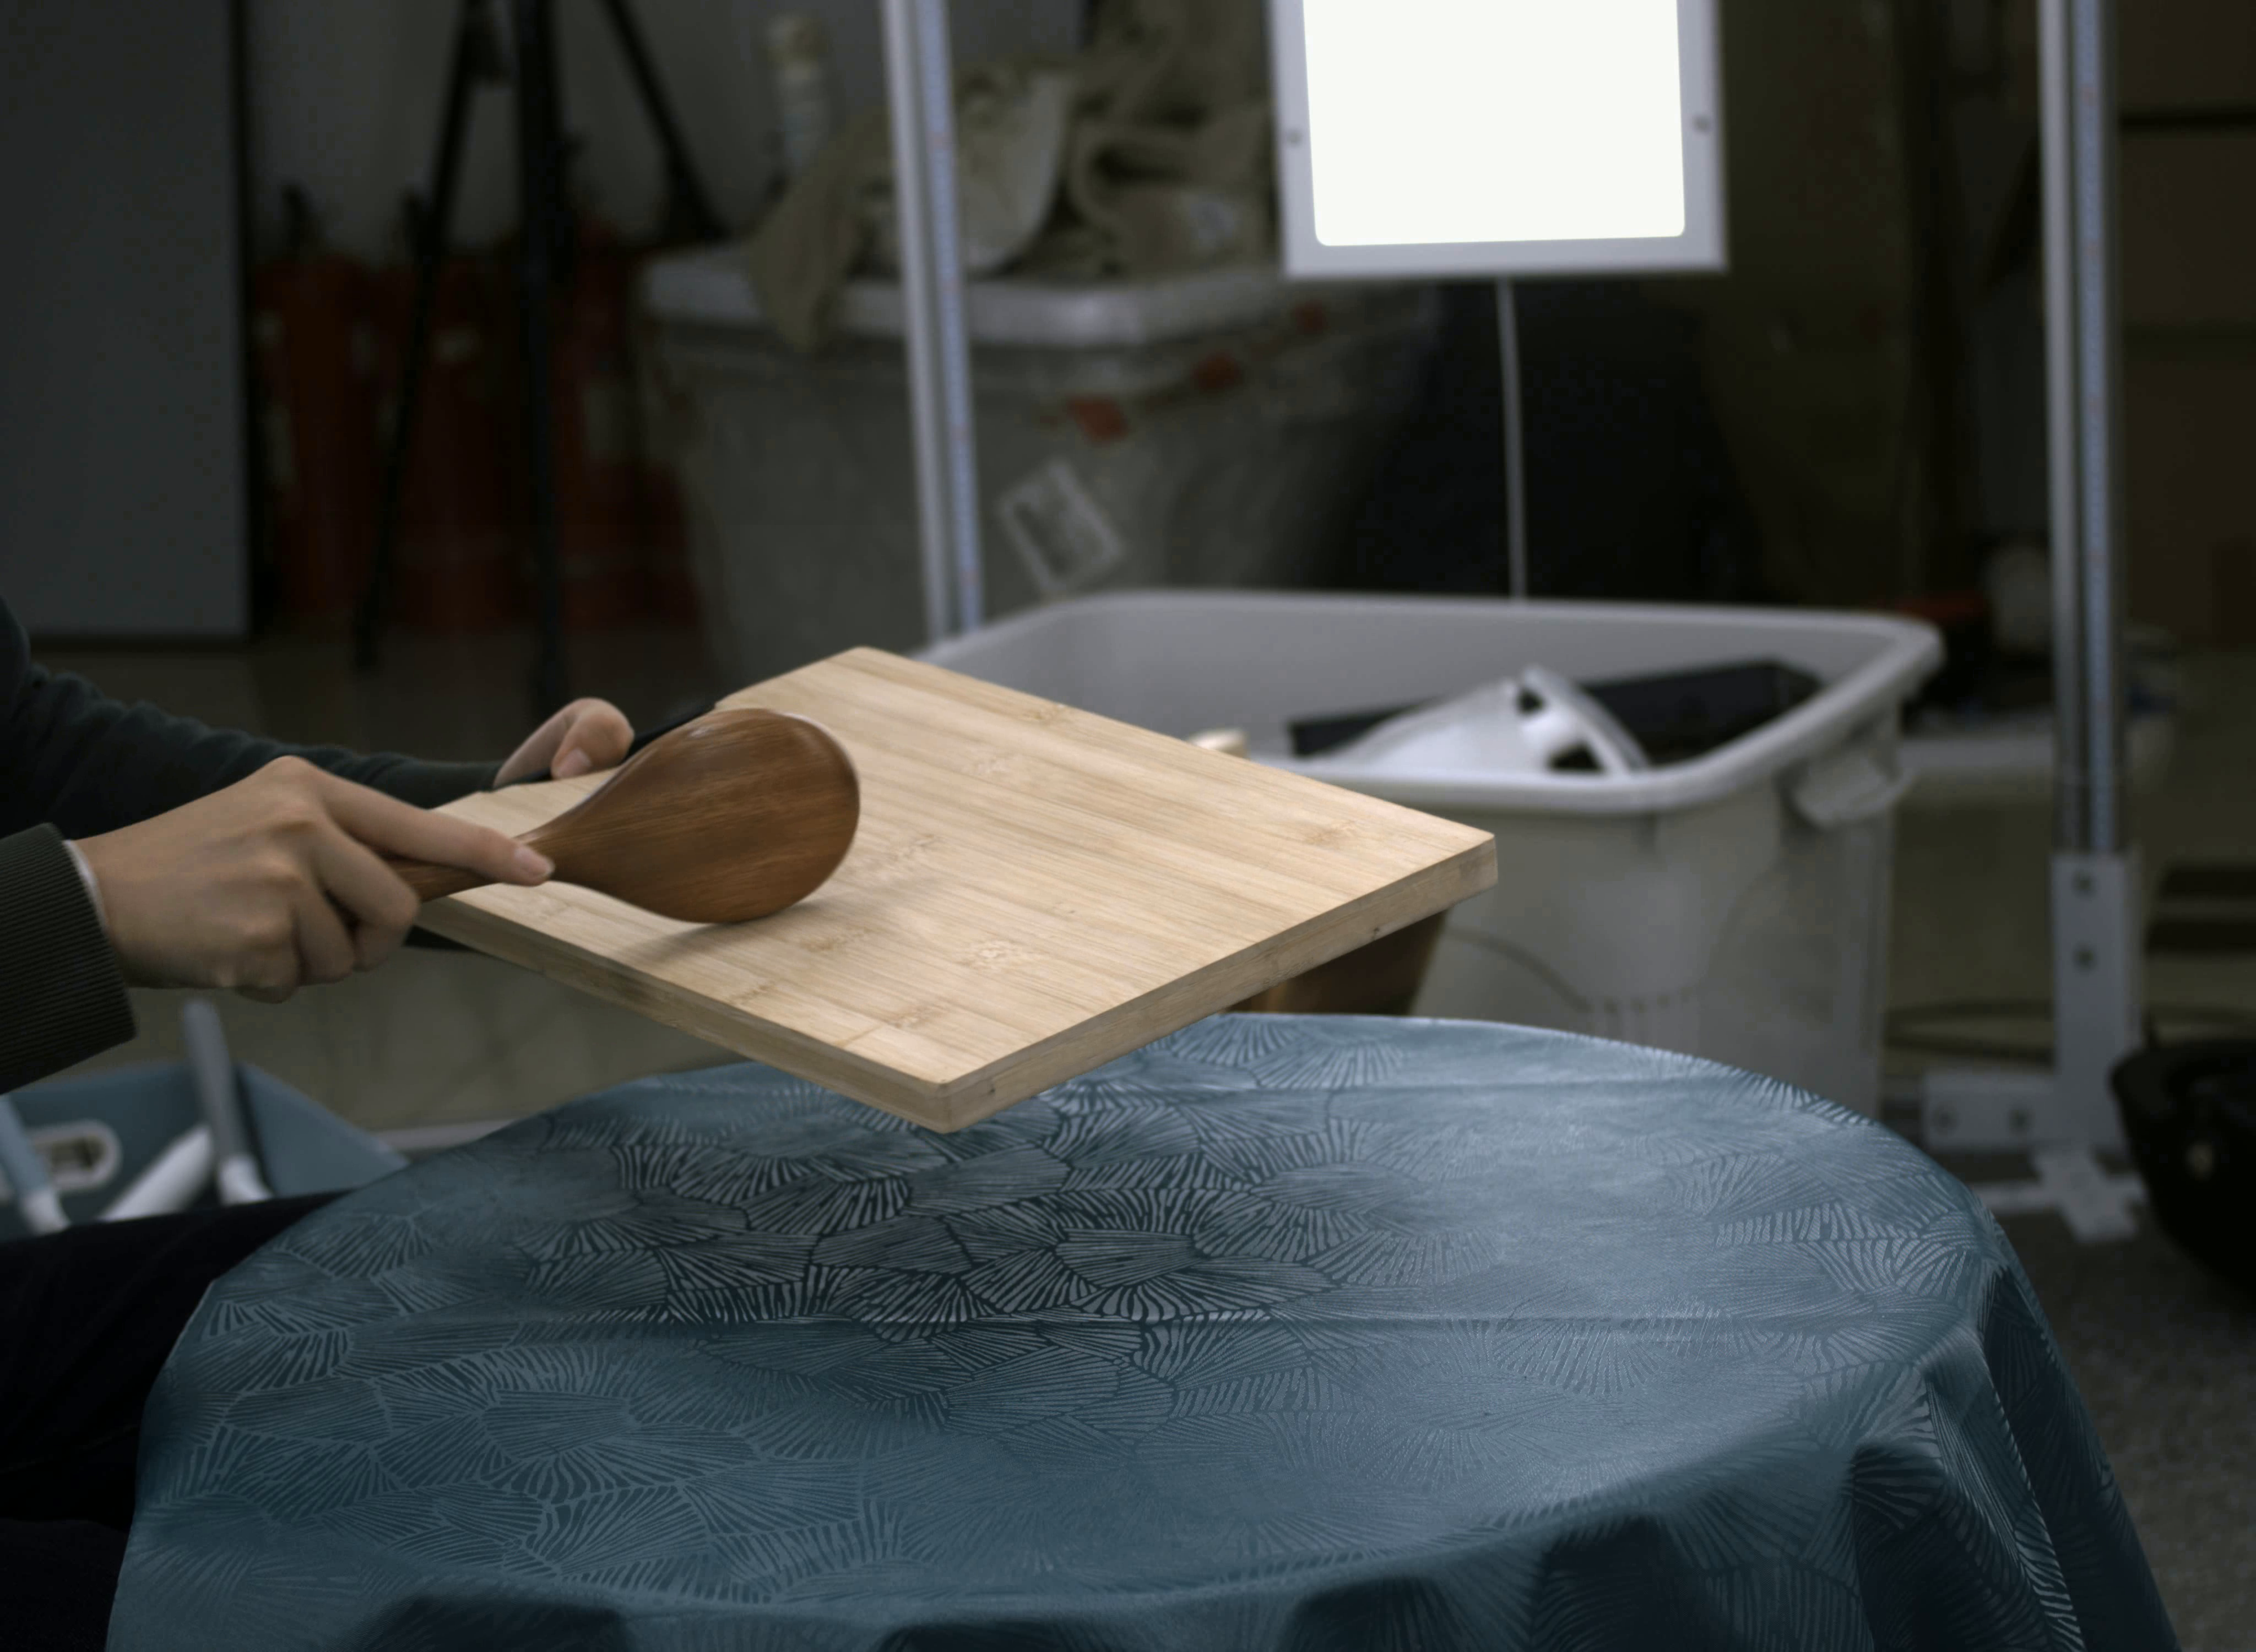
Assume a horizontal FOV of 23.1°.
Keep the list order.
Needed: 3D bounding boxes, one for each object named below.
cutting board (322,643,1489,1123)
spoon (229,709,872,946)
[{"bbox_3d":[-0.081,0.013,1.869,0.245,0.023,0.356,-23,26,-35],"label":"cutting board"},{"bbox_3d":[-0.184,0.009,1.781,0.212,0.076,0.017,-10,28,-15],"label":"spoon"}]
